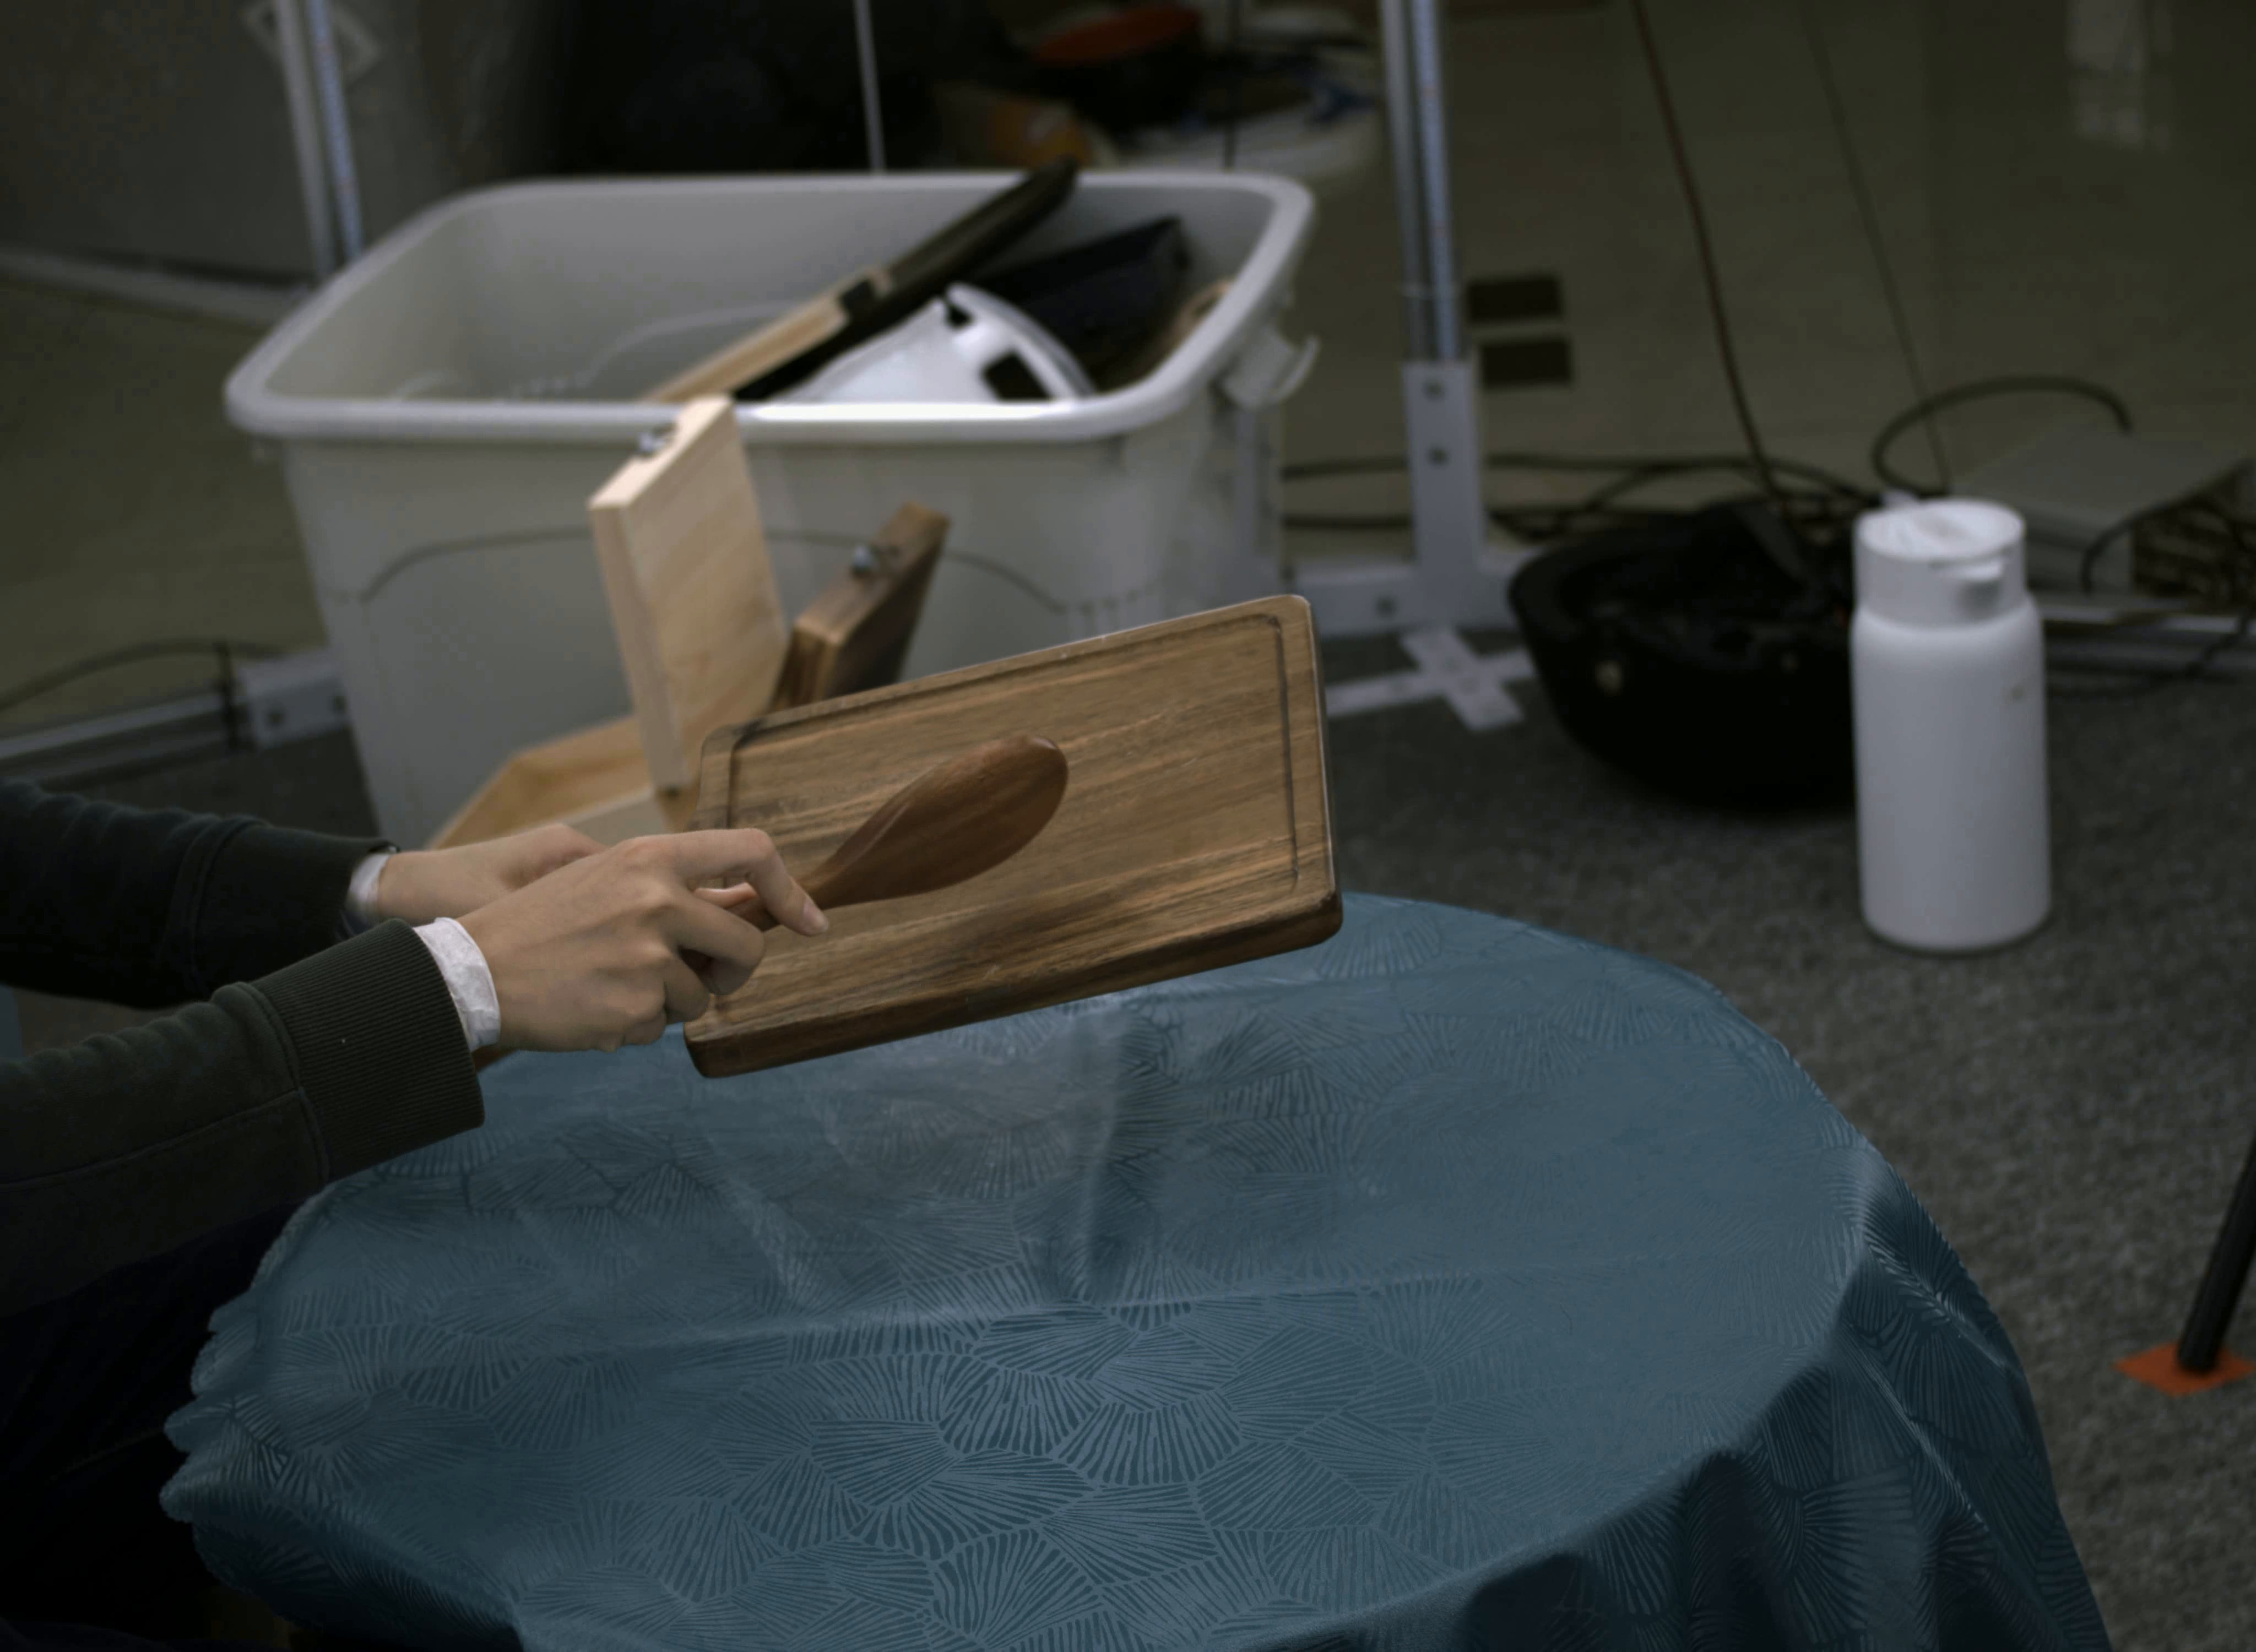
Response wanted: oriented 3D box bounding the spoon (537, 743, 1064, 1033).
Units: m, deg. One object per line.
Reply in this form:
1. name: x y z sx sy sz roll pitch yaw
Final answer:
1. spoon: -0.116 0.025 2.059 0.215 0.077 0.017 -24 65 -15

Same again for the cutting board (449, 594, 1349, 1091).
1. cutting board: -0.092 0.014 2.169 0.352 0.023 0.197 -13 40 9
